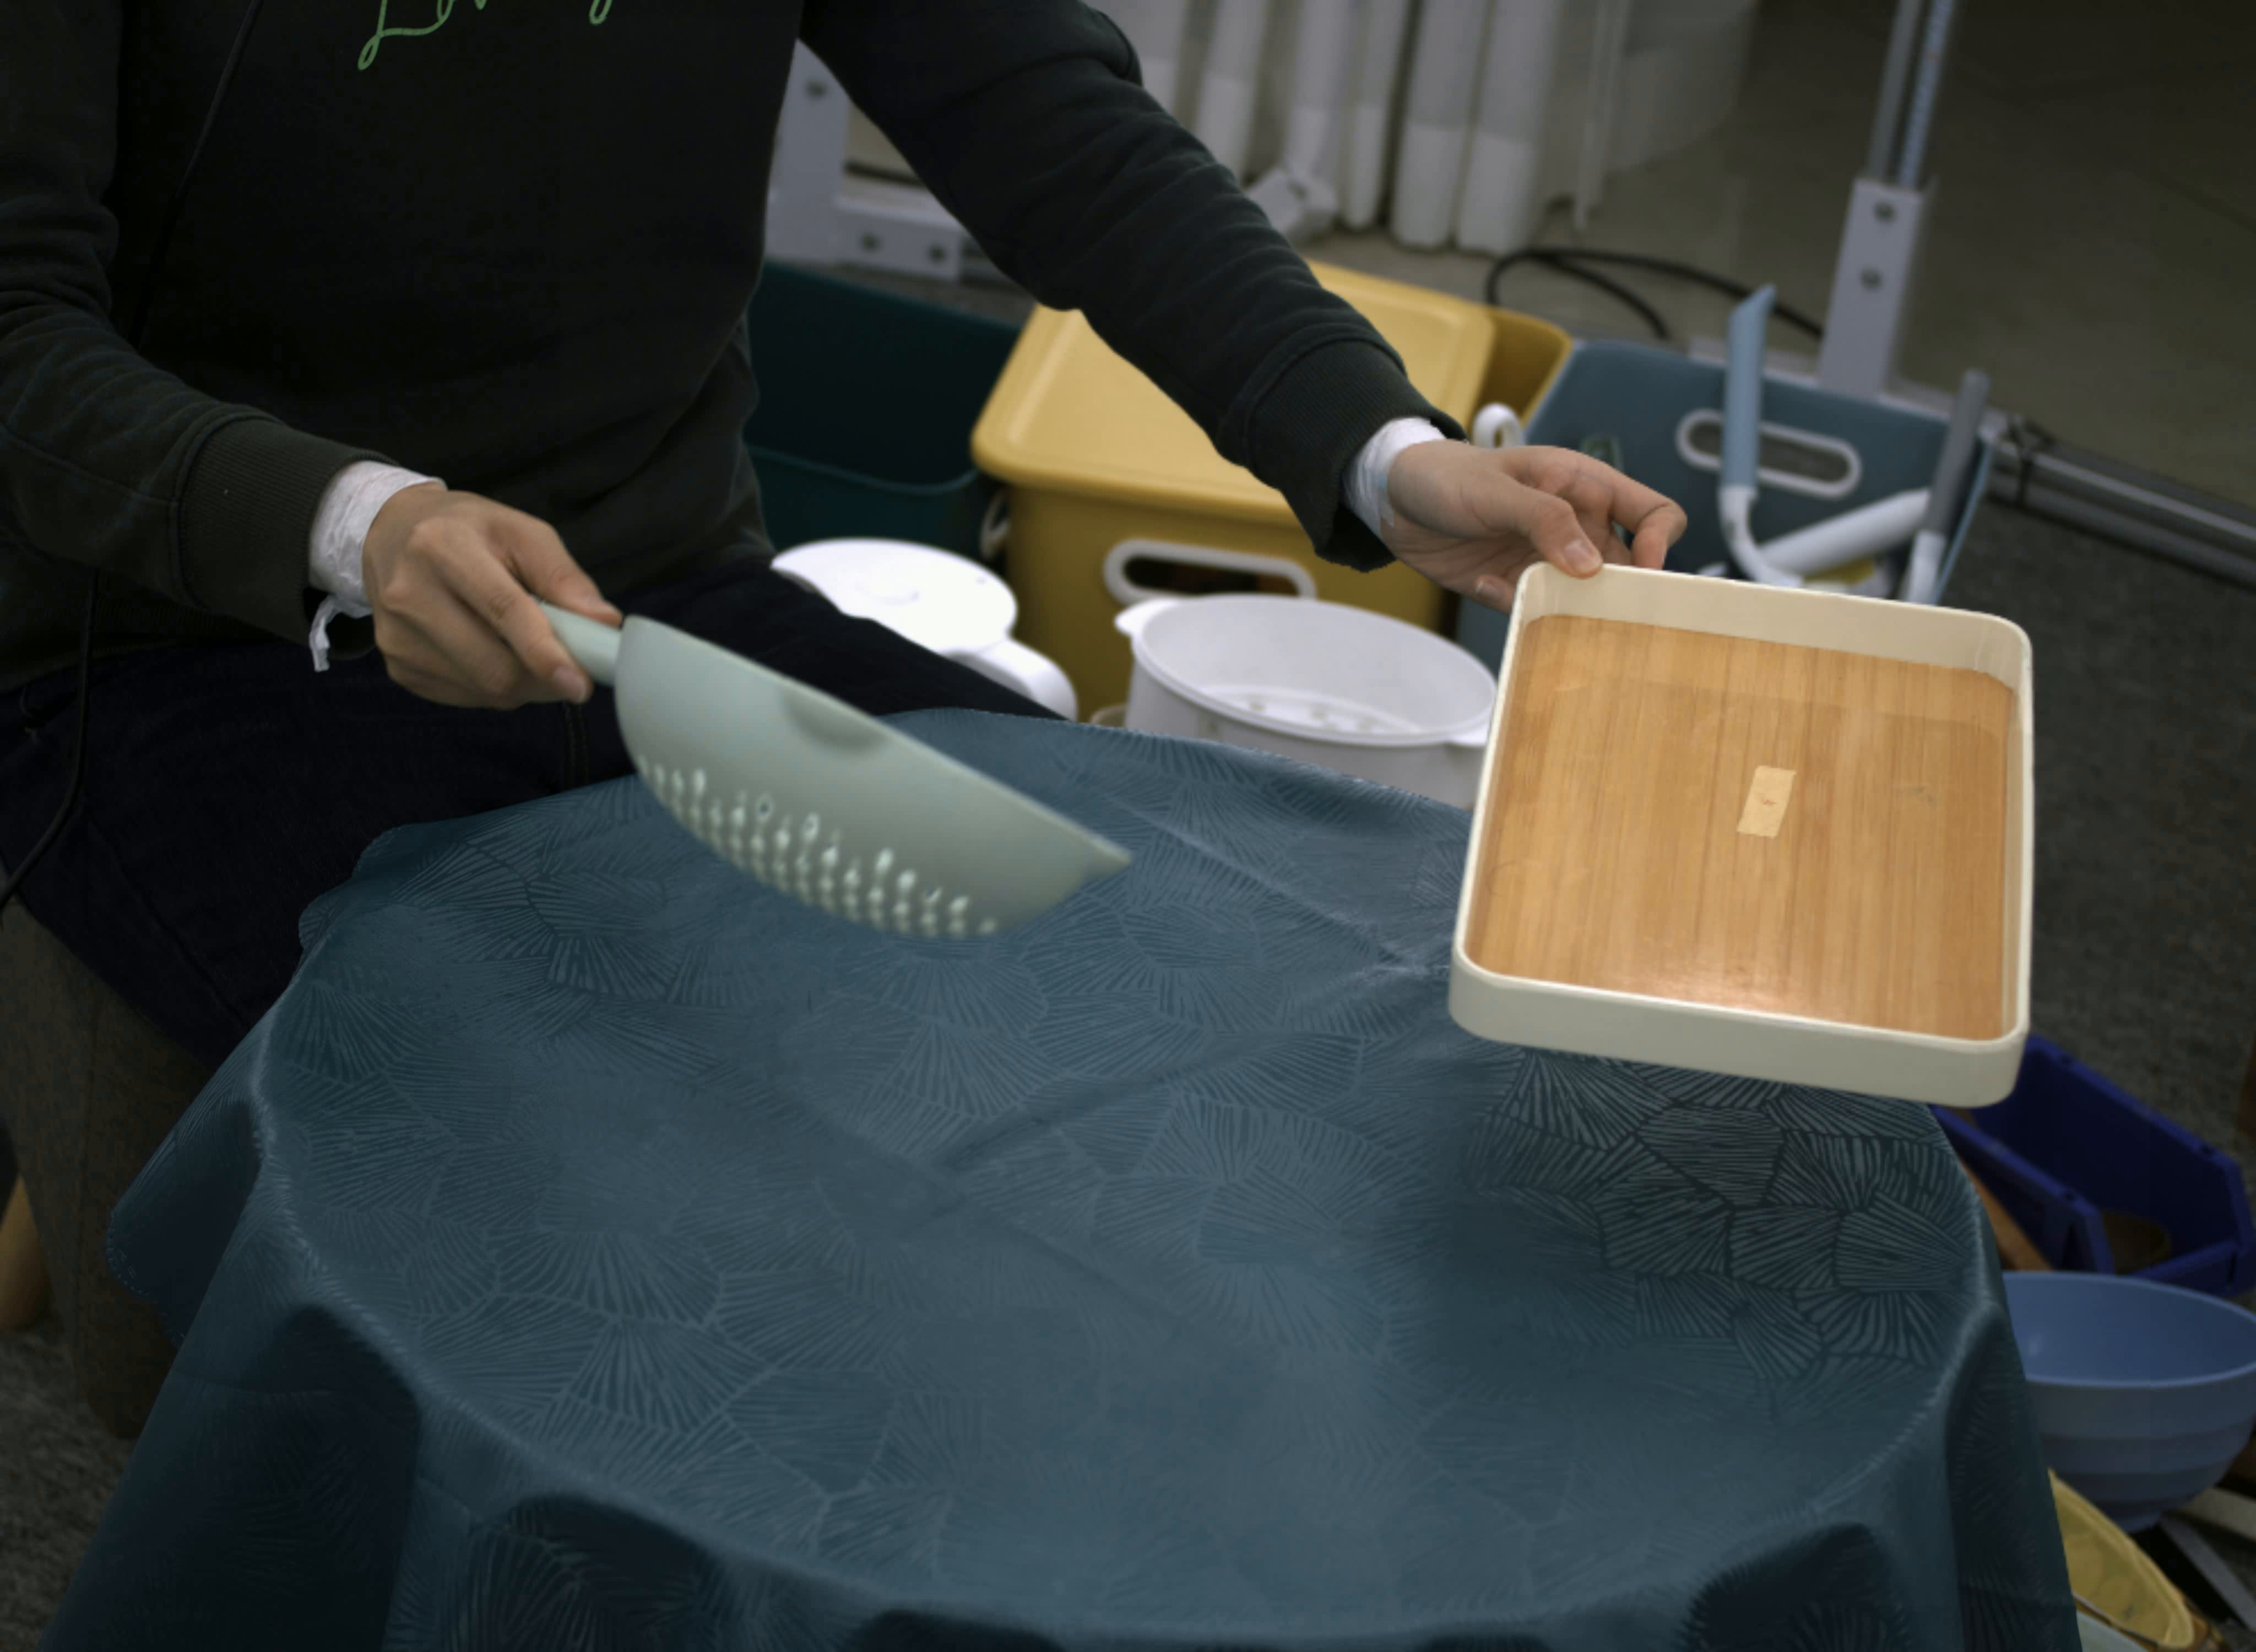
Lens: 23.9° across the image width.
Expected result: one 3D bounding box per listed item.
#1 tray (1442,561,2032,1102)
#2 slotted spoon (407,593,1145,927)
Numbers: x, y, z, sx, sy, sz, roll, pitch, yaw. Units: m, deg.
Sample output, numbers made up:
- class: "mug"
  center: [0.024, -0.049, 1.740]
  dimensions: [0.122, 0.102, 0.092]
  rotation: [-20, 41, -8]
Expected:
- class: "tray"
  center: [0.216, -0.004, 1.848]
  dimensions: [0.191, 0.027, 0.301]
  rotation: [8, 30, 6]
- class: "slotted spoon"
  center: [-0.142, -0.039, 1.749]
  dimensions: [0.168, 0.075, 0.362]
  rotation: [29, 1, -37]
